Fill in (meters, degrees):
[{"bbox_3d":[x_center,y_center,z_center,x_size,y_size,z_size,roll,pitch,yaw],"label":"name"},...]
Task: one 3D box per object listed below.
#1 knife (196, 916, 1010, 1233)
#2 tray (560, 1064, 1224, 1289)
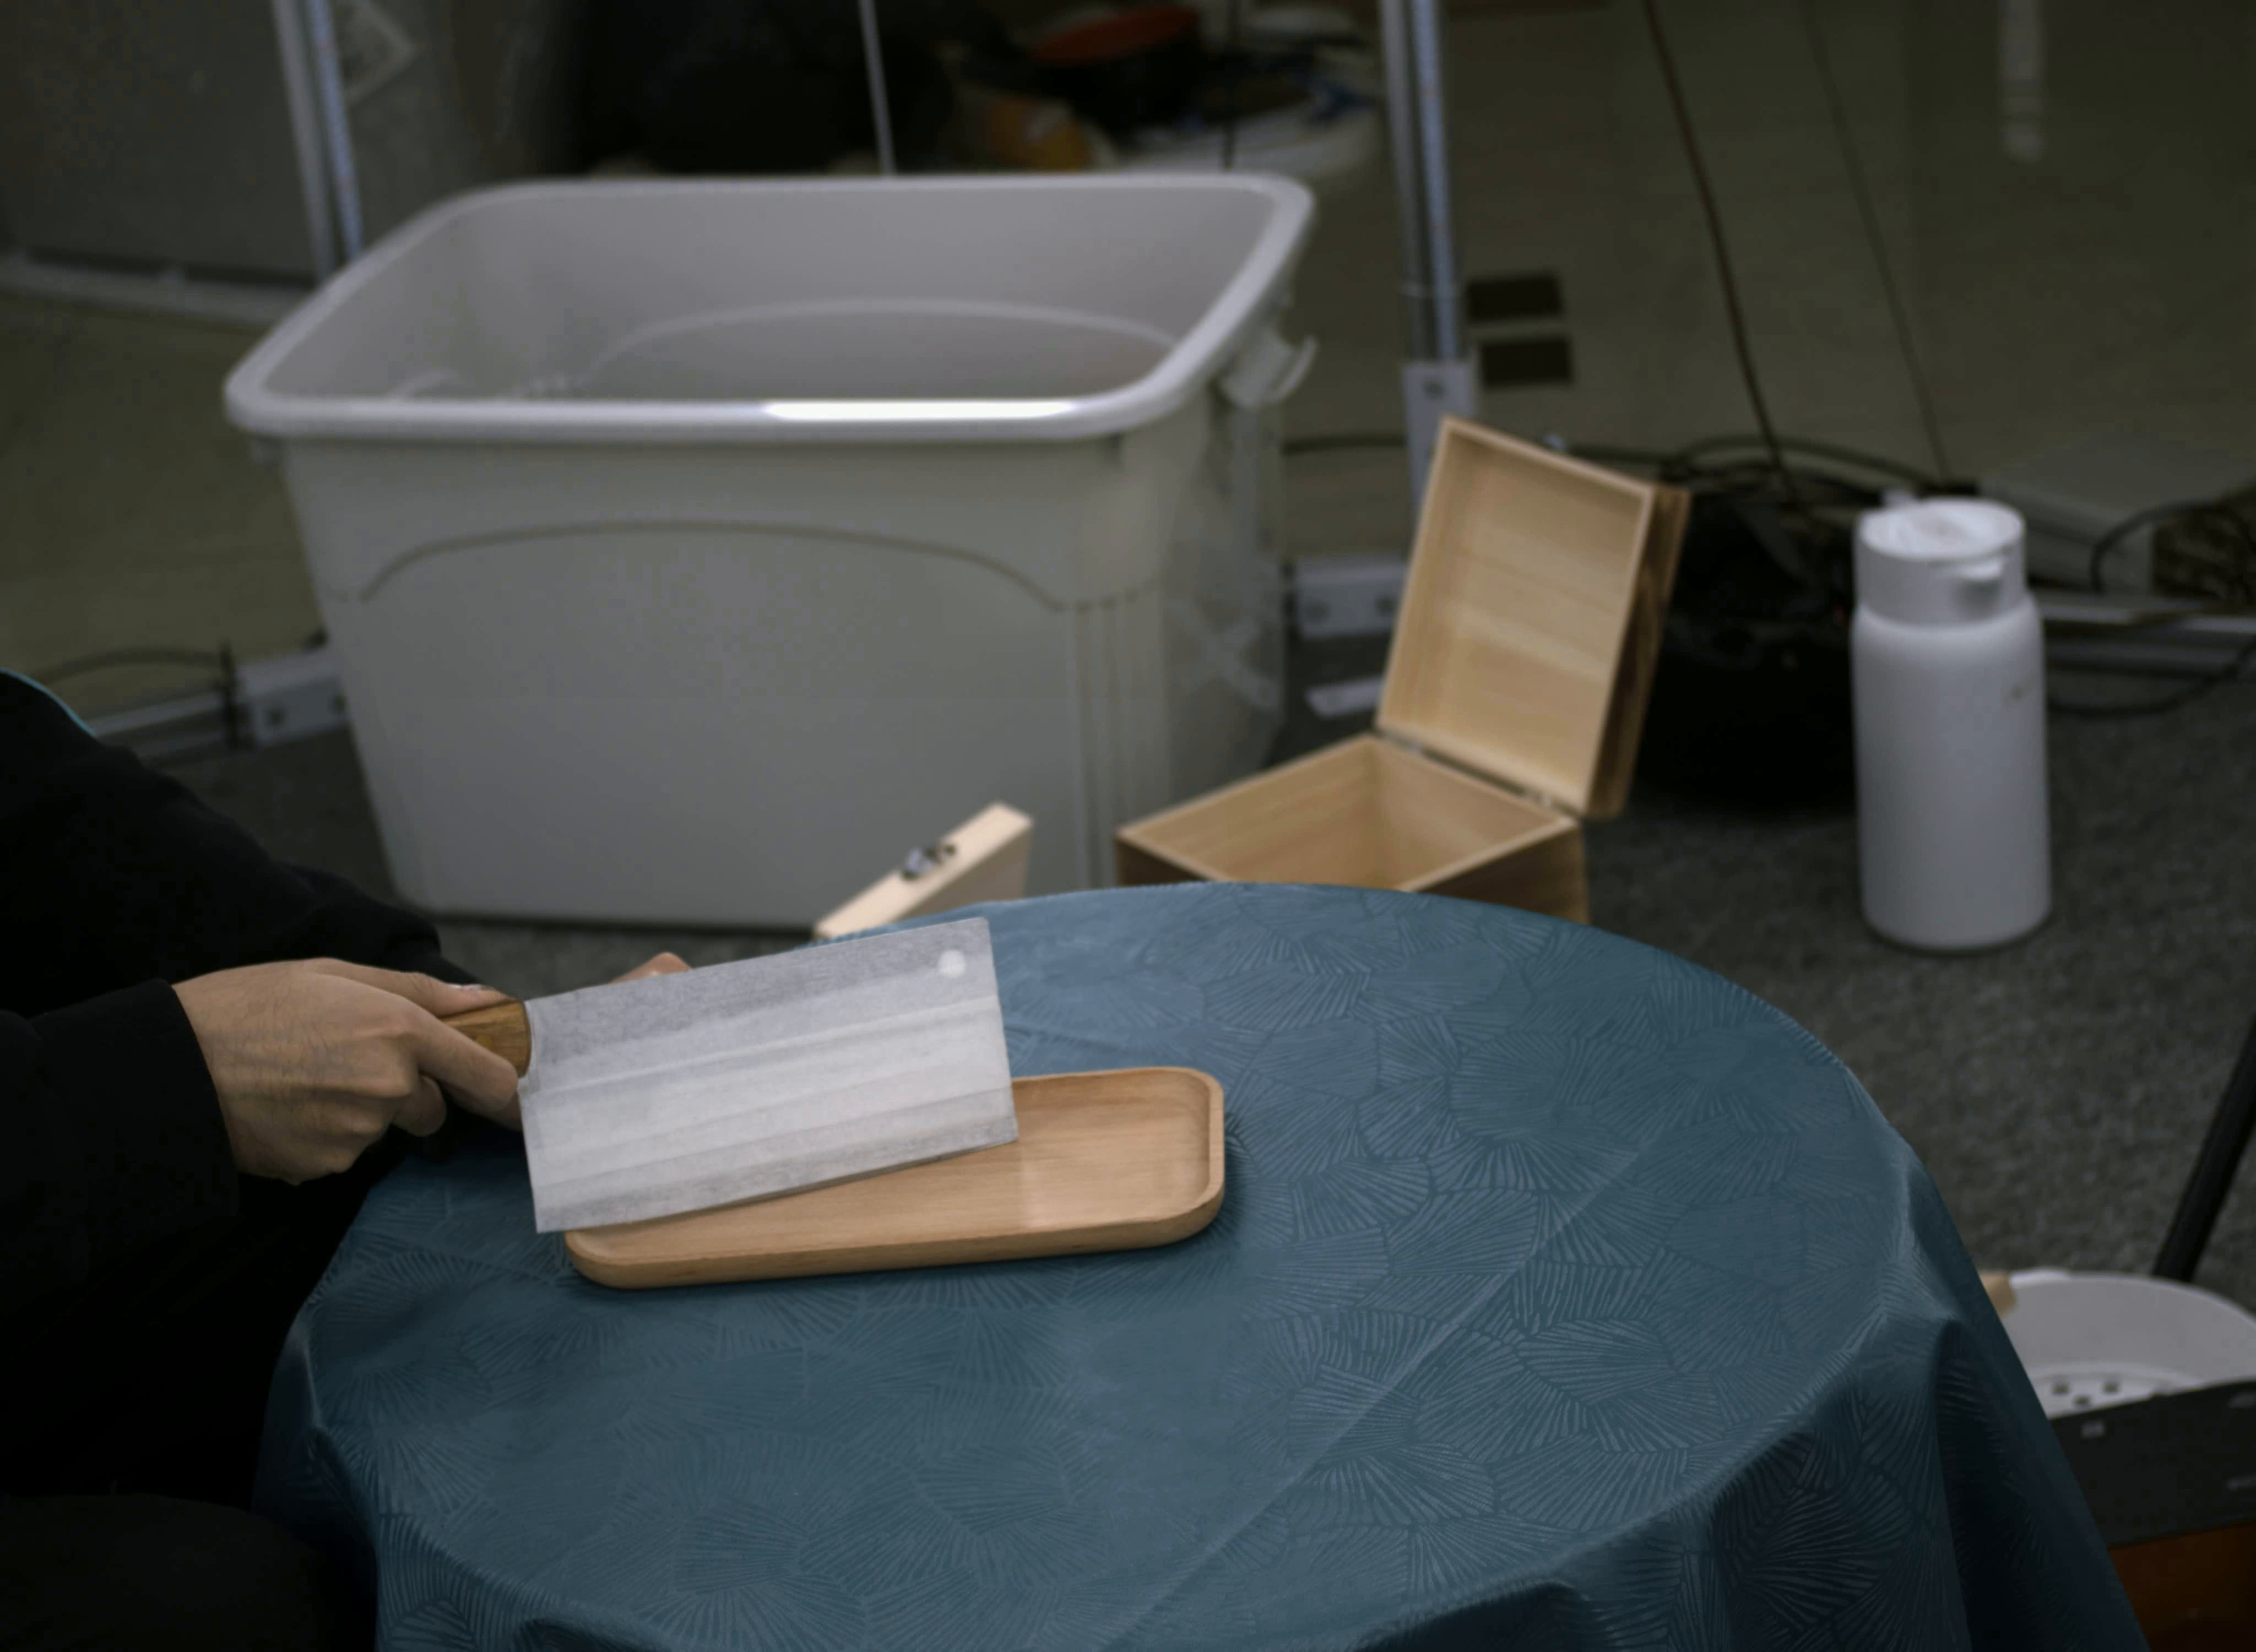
[{"bbox_3d":[-0.193,0.102,2.130,0.305,0.094,0.021,-10,11,-14],"label":"knife"},{"bbox_3d":[-0.088,0.134,2.161,0.250,0.023,0.129,-5,23,5],"label":"tray"}]
